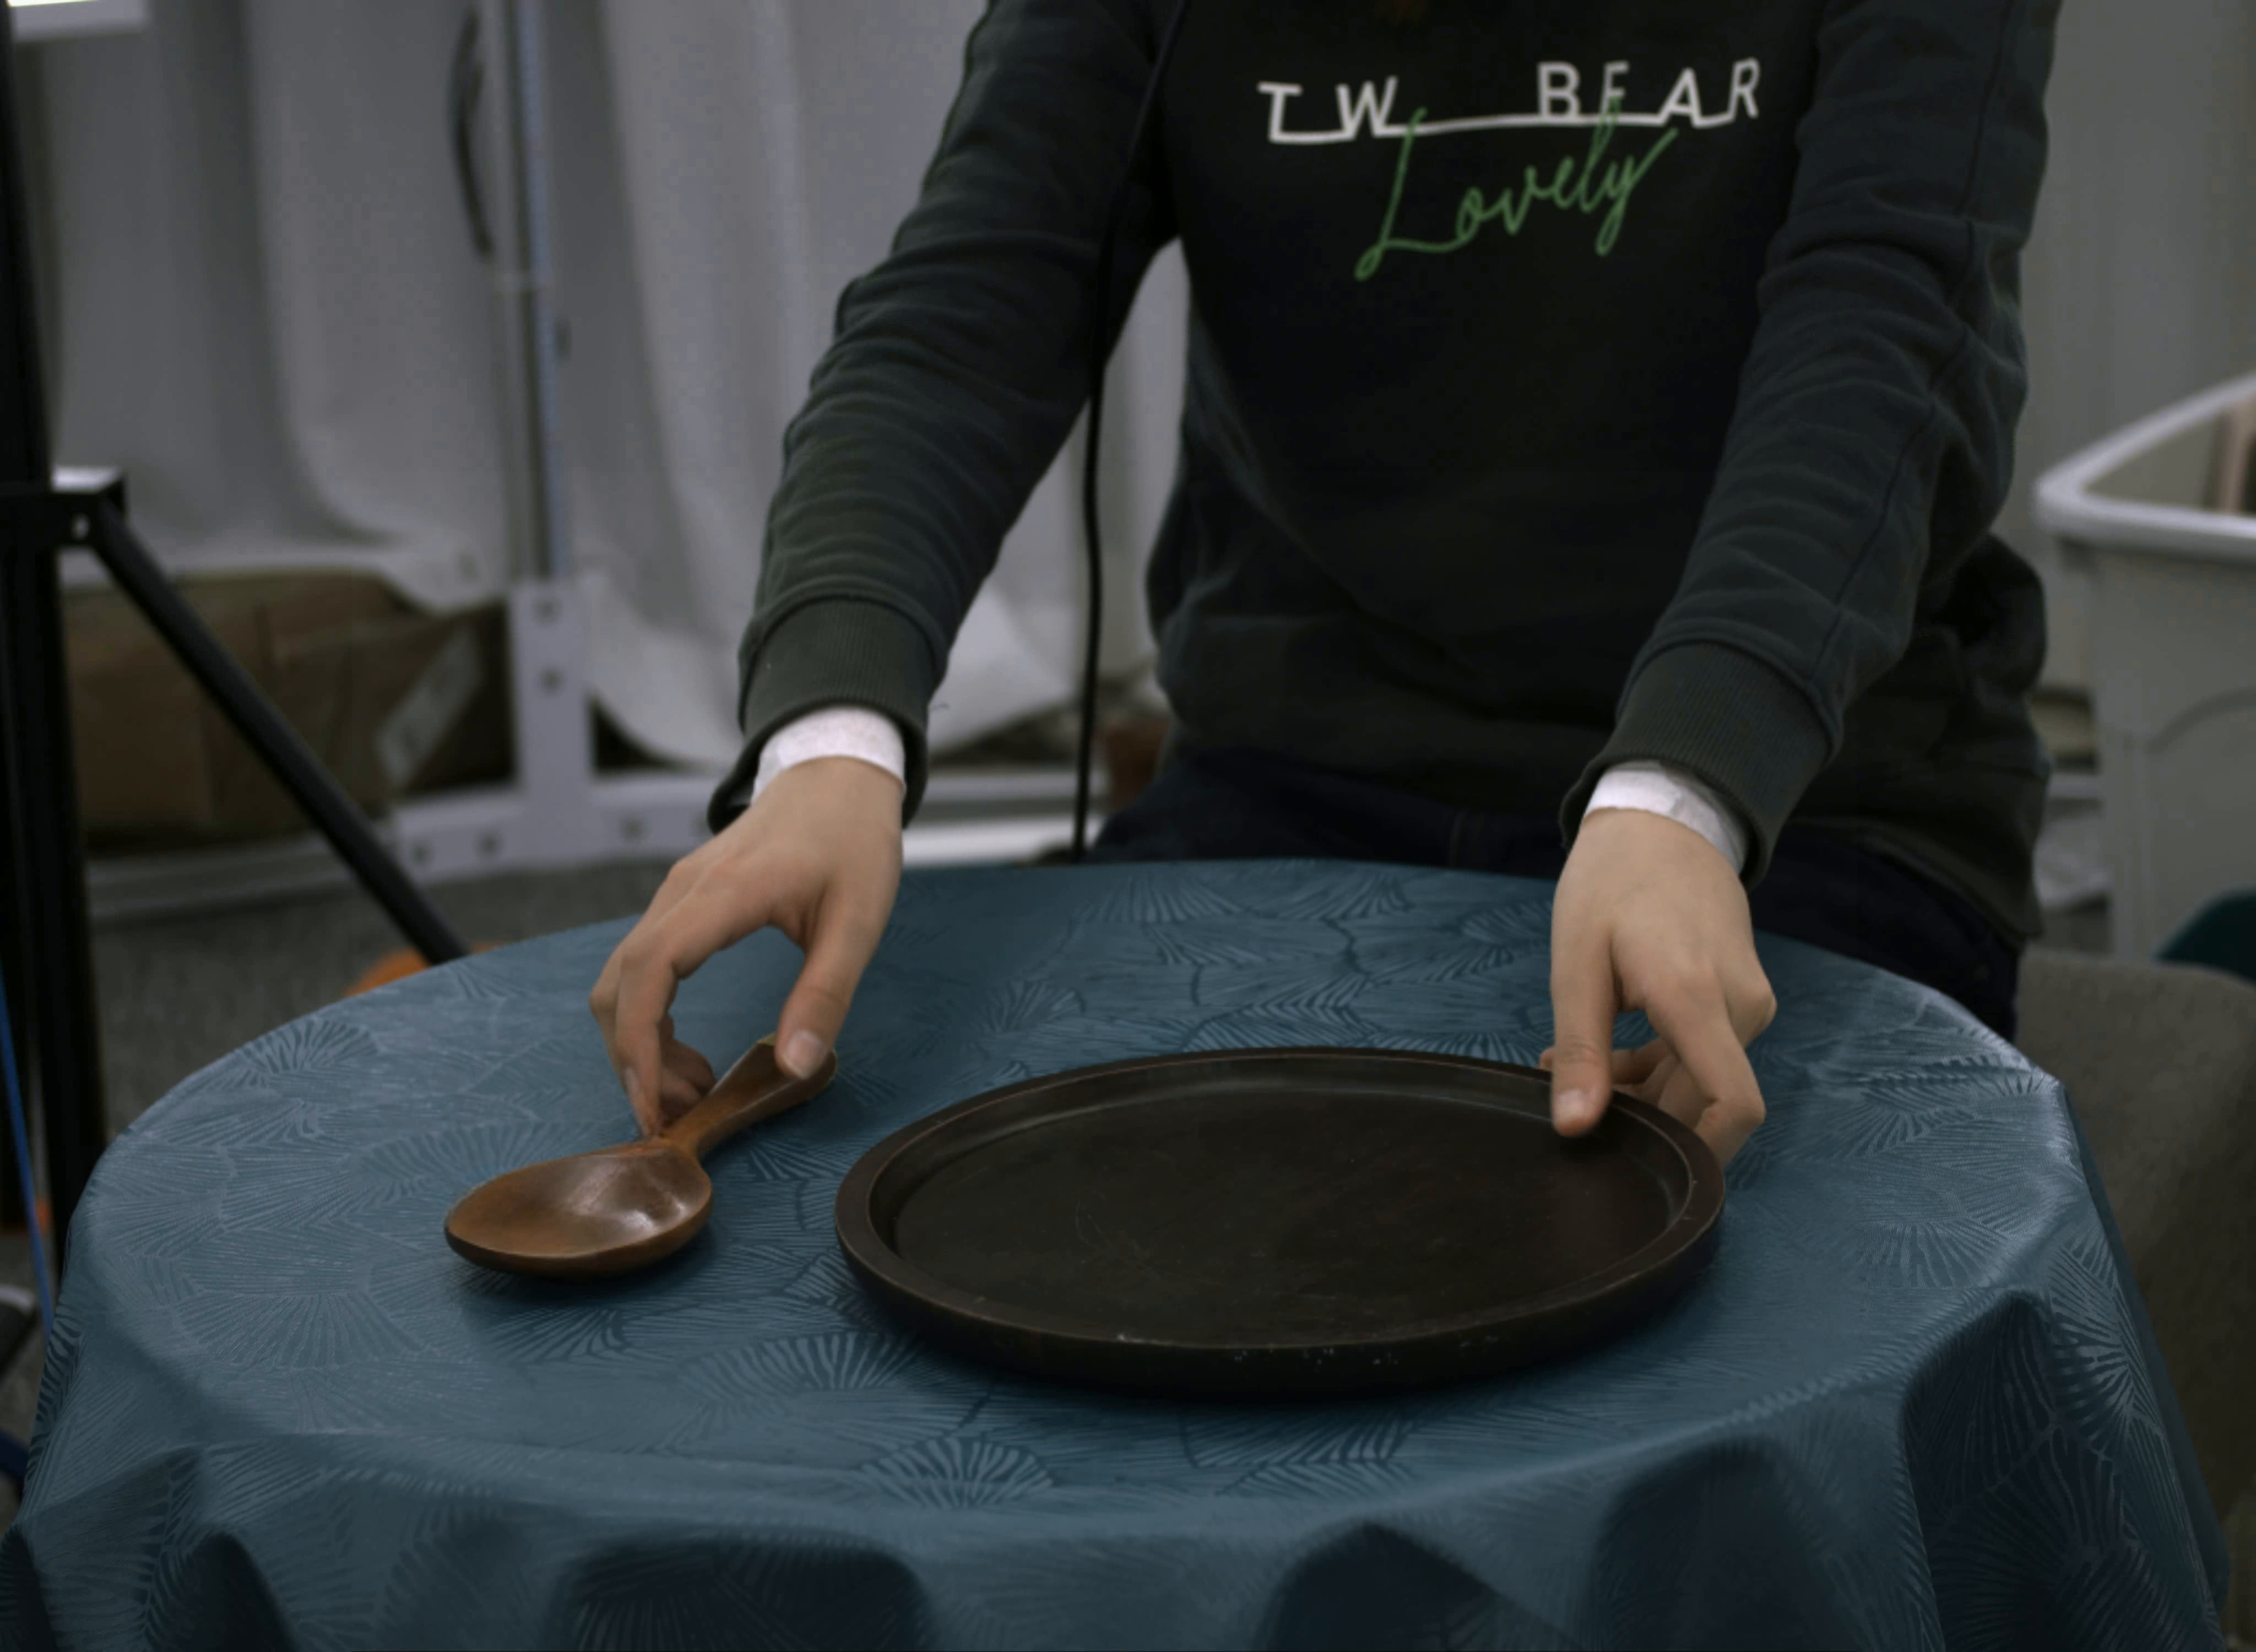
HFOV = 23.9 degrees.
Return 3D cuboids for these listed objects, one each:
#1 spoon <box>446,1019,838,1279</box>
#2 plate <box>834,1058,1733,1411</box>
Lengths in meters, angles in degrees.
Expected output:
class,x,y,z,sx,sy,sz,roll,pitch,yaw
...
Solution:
class,x,y,z,sx,sy,sz,roll,pitch,yaw
spoon,-0.134,0.097,1.586,0.076,0.017,0.213,3,17,20
plate,0.043,0.112,1.497,0.253,0.029,0.256,-2,17,-1
